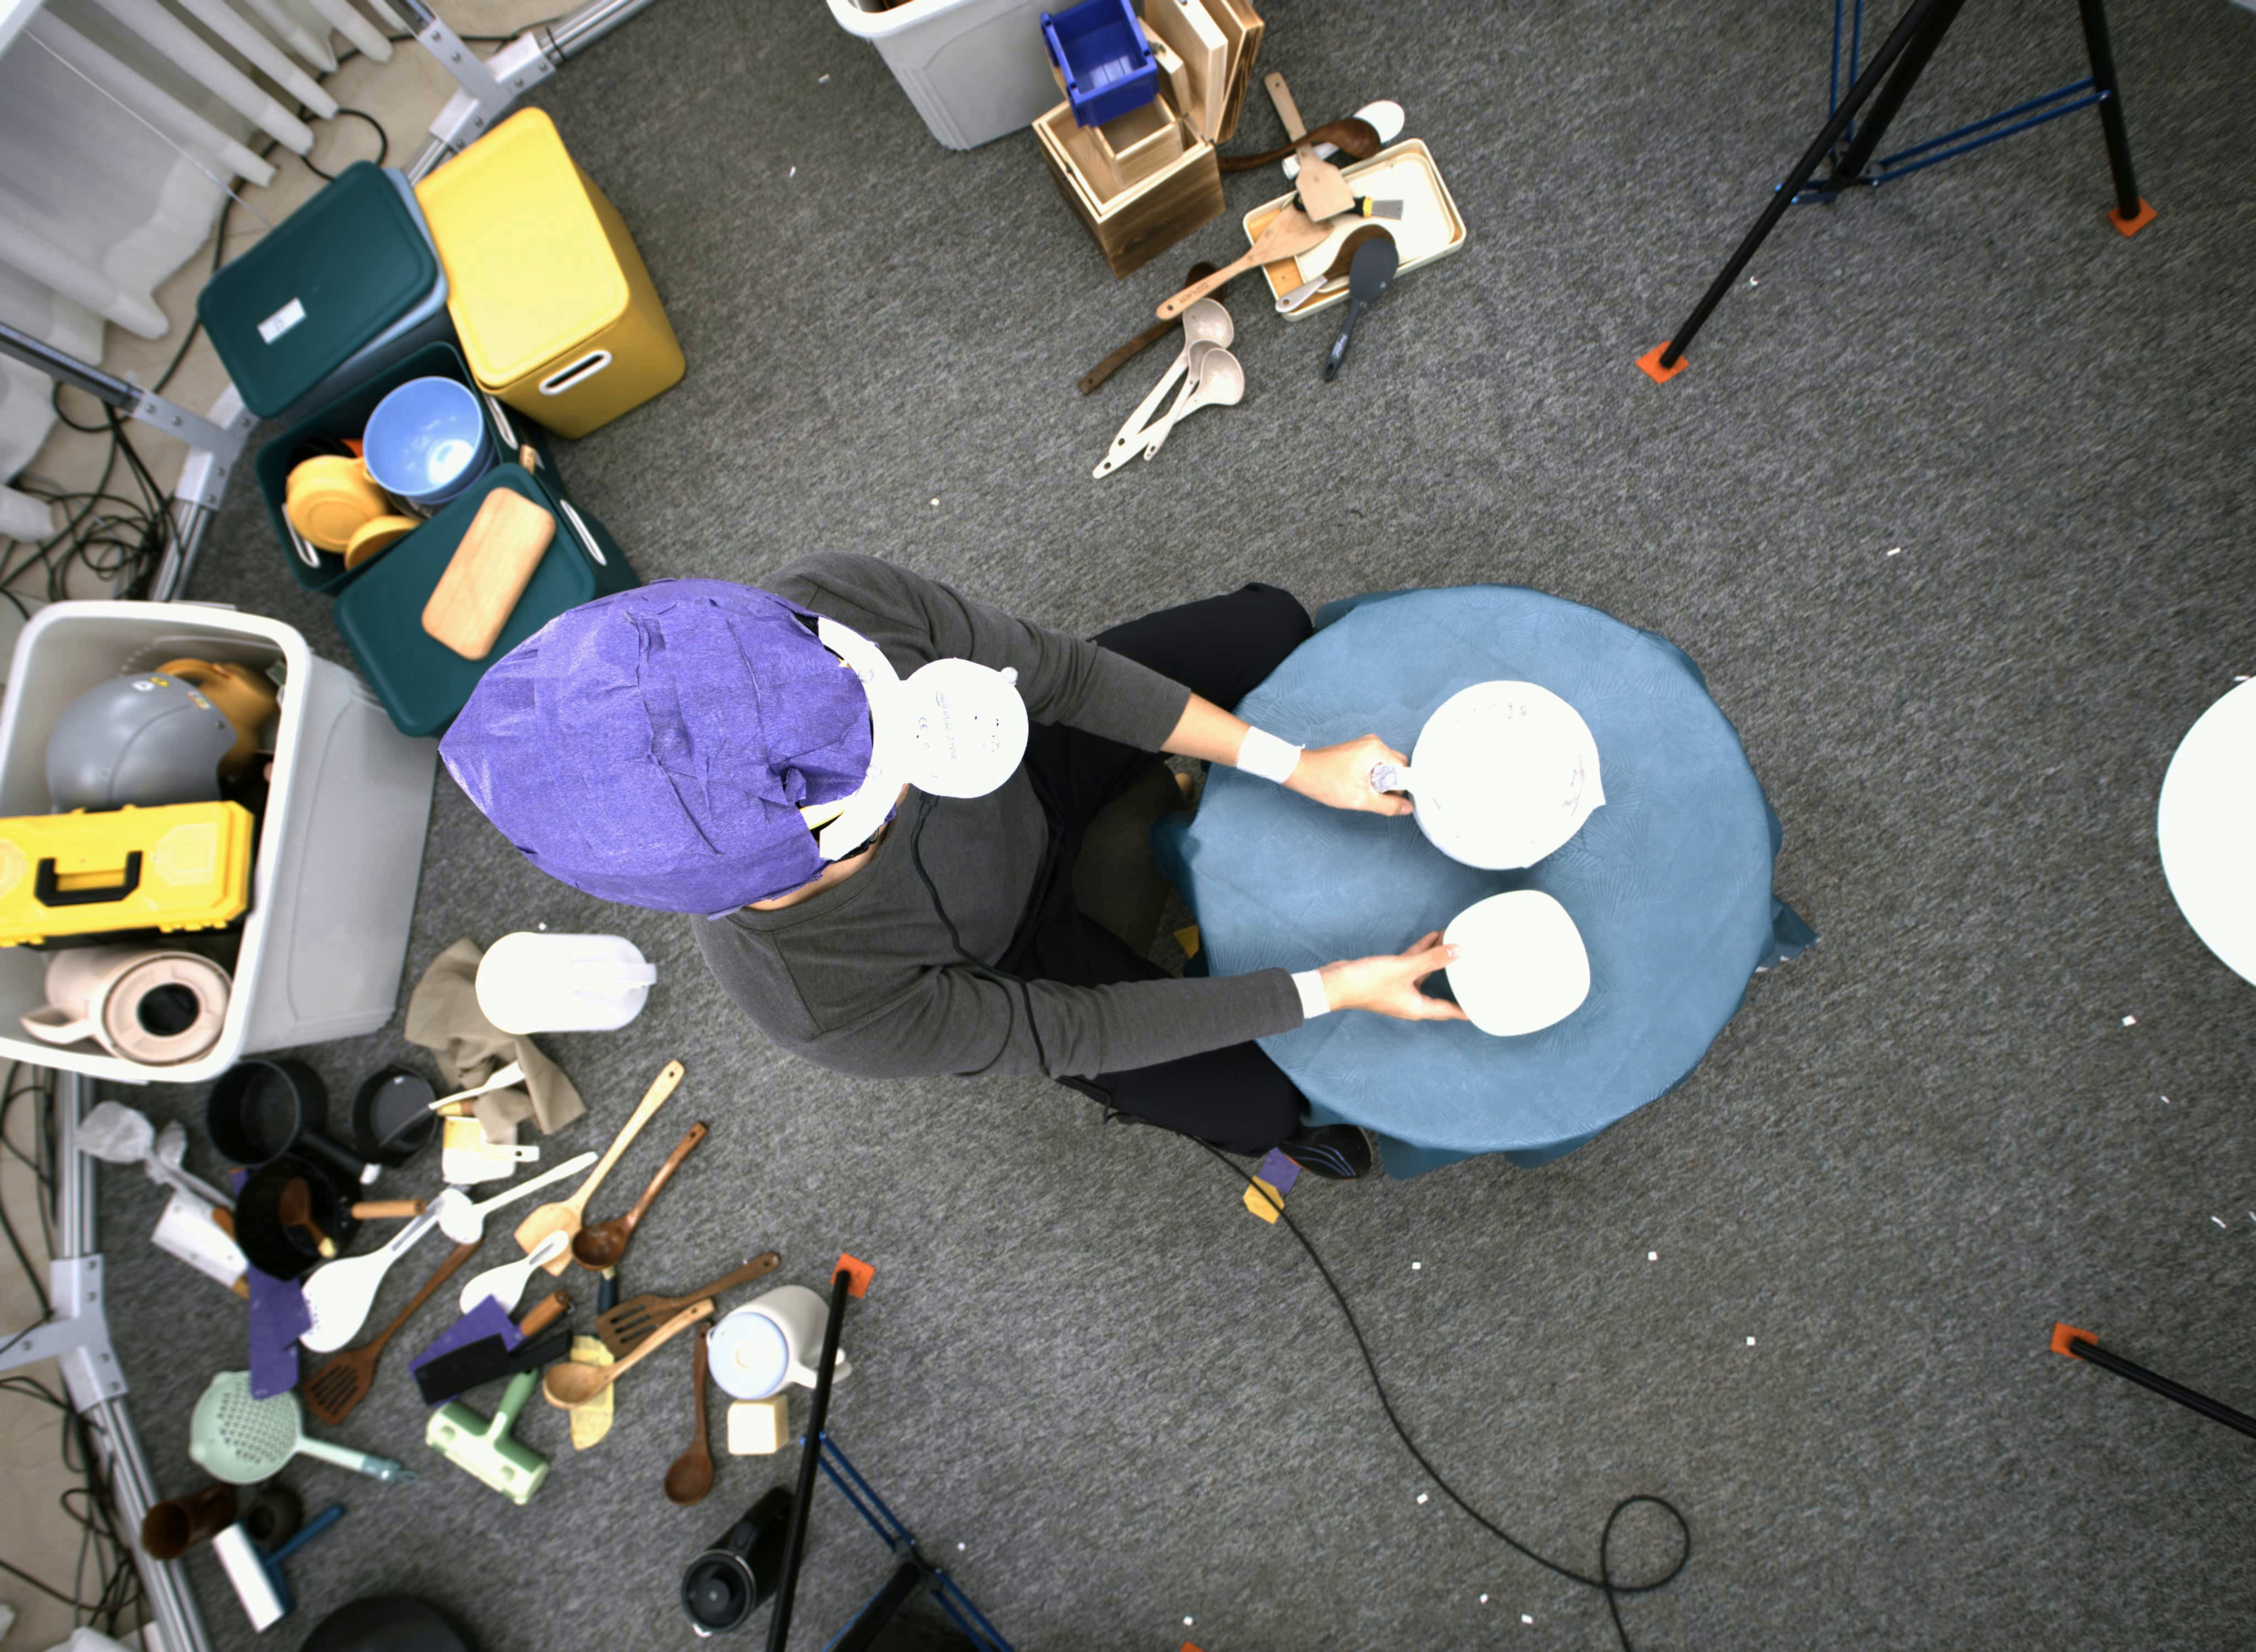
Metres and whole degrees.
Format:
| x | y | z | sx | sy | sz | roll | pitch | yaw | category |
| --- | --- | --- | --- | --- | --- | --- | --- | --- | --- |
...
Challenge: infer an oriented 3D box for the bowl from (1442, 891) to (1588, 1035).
| x | y | z | sx | sy | sz | roll | pitch | yaw | category |
| --- | --- | --- | --- | --- | --- | --- | --- | --- | --- |
| 0.388 | 0.138 | 1.400 | 0.152 | 0.059 | 0.150 | 0 | 83 | 2 | bowl |

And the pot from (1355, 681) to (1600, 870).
| x | y | z | sx | sy | sz | roll | pitch | yaw | category |
| --- | --- | --- | --- | --- | --- | --- | --- | --- | --- |
| 0.346 | -0.047 | 1.384 | 0.235 | 0.136 | 0.178 | -2 | 86 | 11 | pot |
